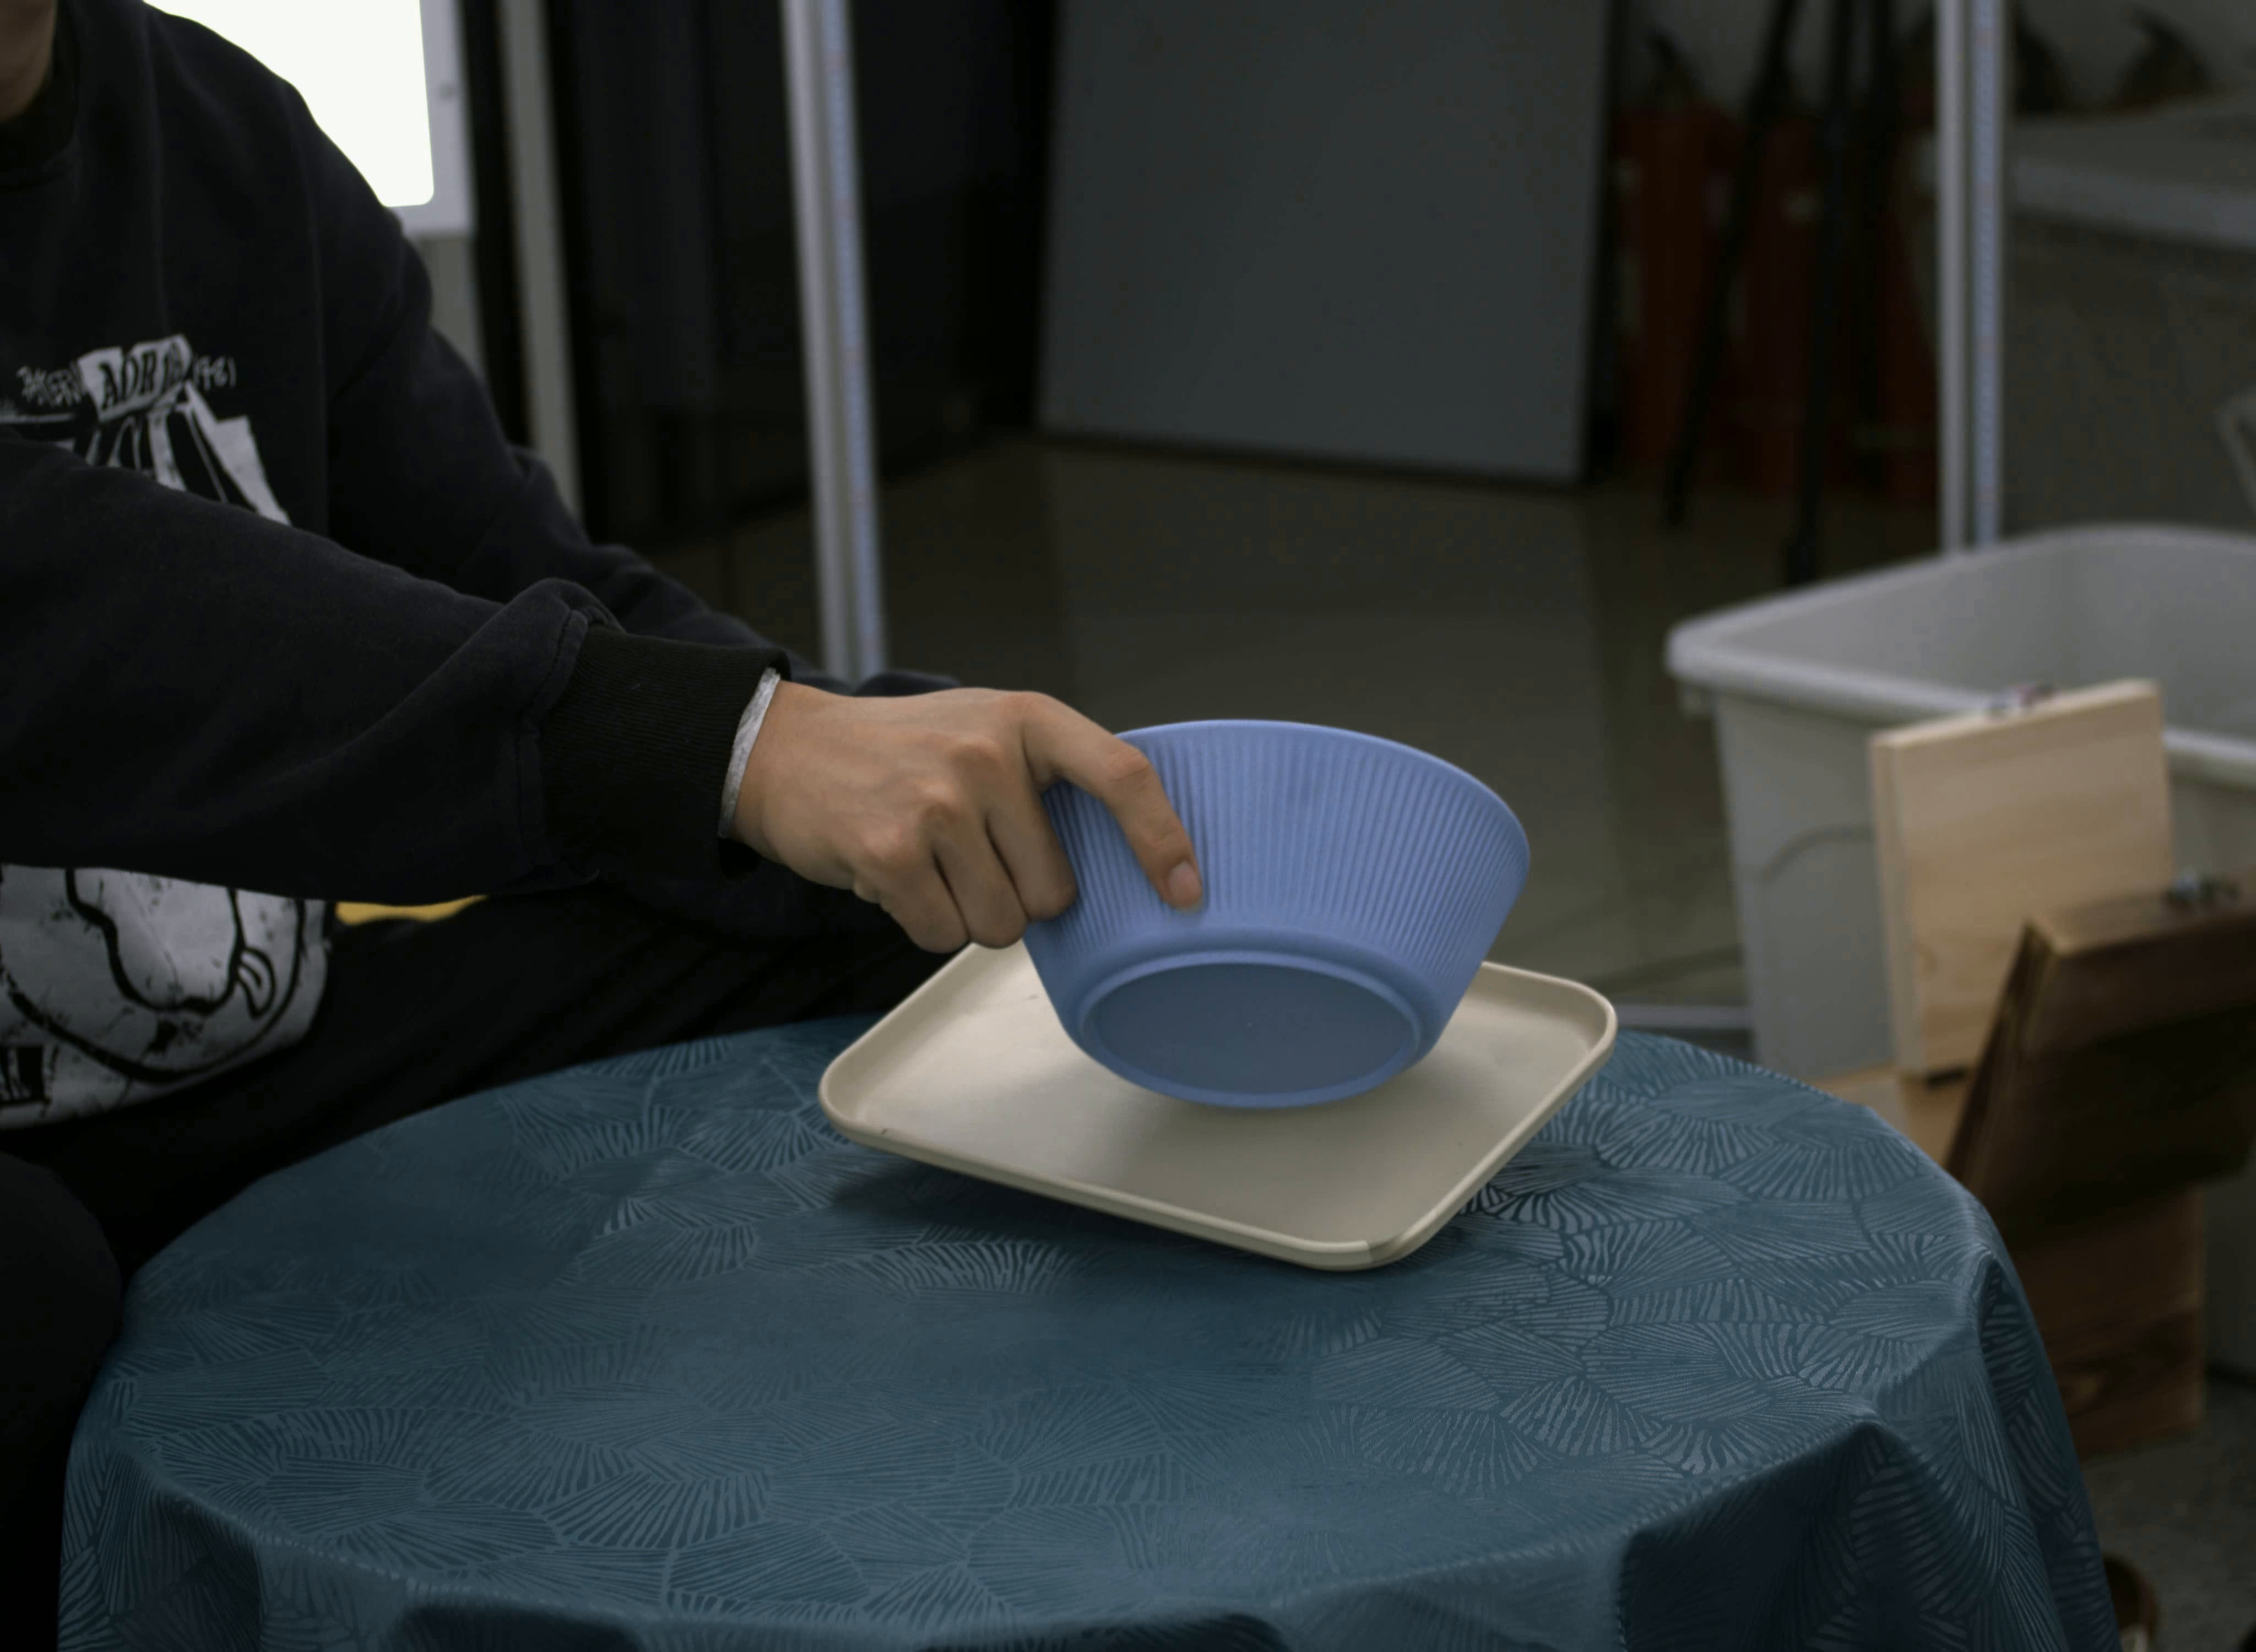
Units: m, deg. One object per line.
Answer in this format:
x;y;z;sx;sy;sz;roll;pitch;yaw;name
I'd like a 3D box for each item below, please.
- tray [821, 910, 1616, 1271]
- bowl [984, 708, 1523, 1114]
0.030;0.082;1.780;0.241;0.017;0.169;12;35;34;tray
0.038;0.036;1.711;0.174;0.071;0.176;5;-29;2;bowl
